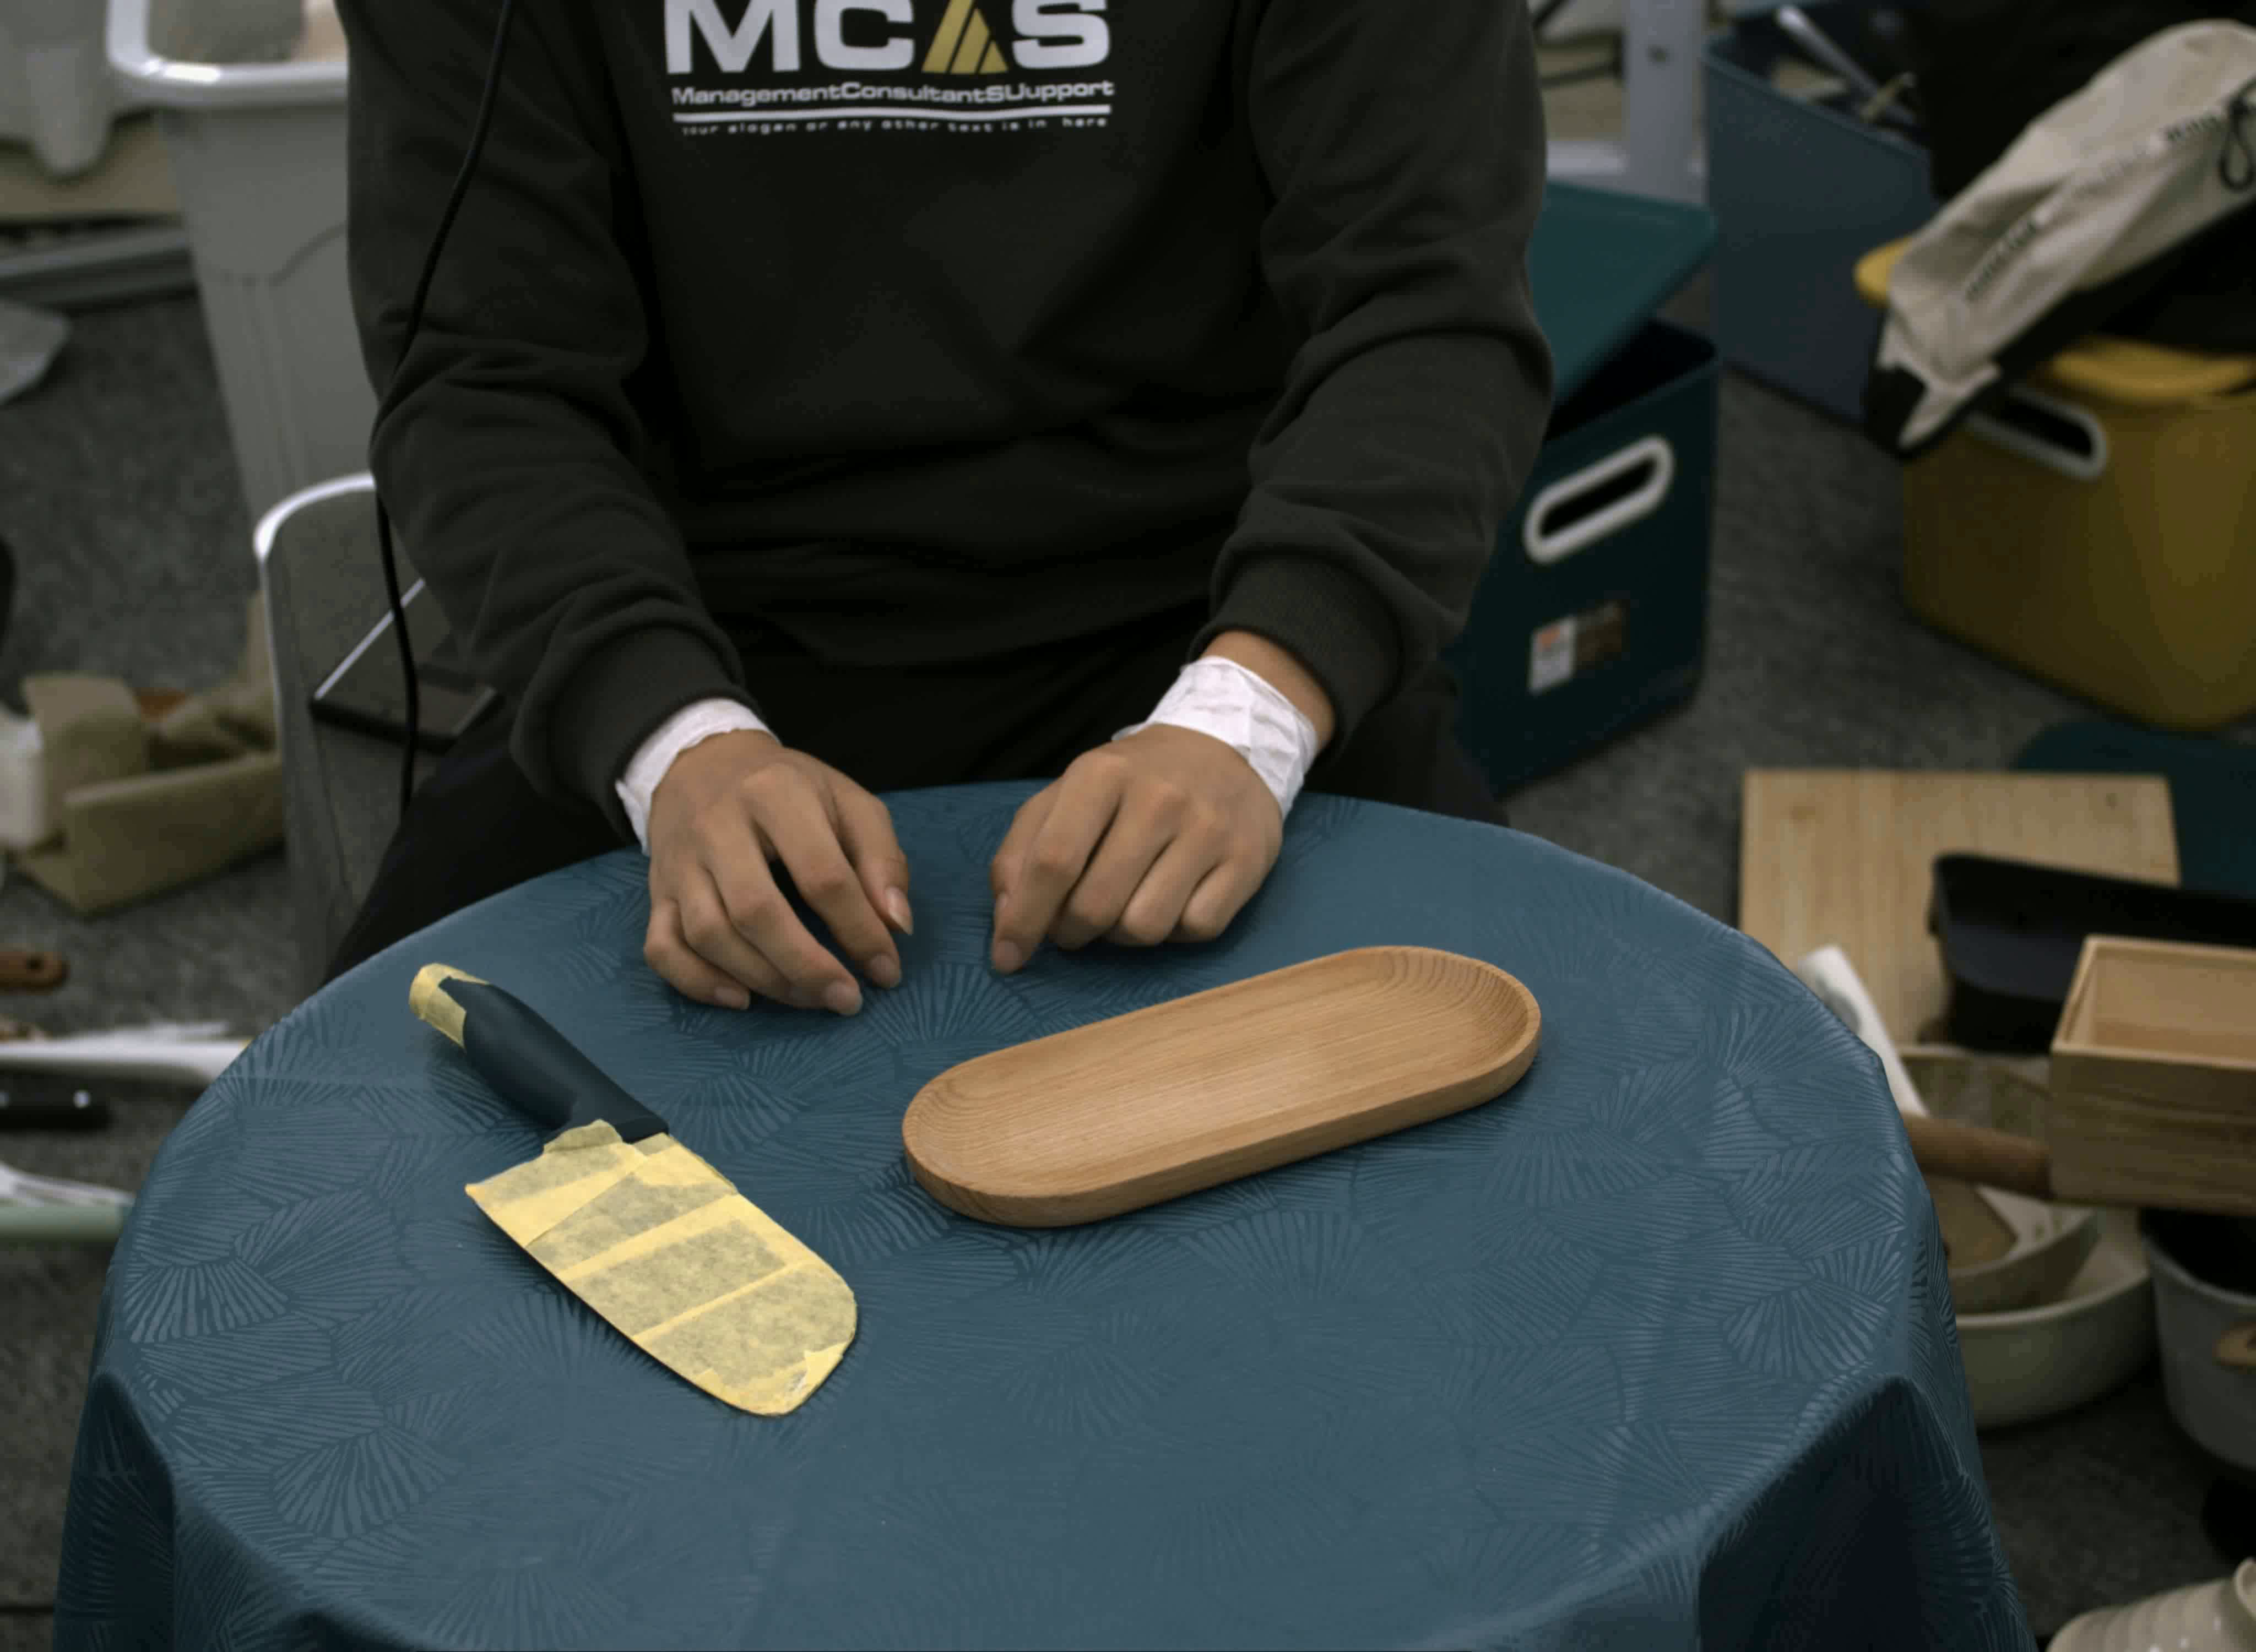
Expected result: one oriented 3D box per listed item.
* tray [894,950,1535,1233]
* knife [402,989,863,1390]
[{"bbox_3d":[0.030,0.090,1.903,0.232,0.020,0.102,-16,29,-22],"label":"tray"},{"bbox_3d":[-0.177,0.121,1.863,0.081,0.027,0.290,-17,31,-29],"label":"knife"}]
